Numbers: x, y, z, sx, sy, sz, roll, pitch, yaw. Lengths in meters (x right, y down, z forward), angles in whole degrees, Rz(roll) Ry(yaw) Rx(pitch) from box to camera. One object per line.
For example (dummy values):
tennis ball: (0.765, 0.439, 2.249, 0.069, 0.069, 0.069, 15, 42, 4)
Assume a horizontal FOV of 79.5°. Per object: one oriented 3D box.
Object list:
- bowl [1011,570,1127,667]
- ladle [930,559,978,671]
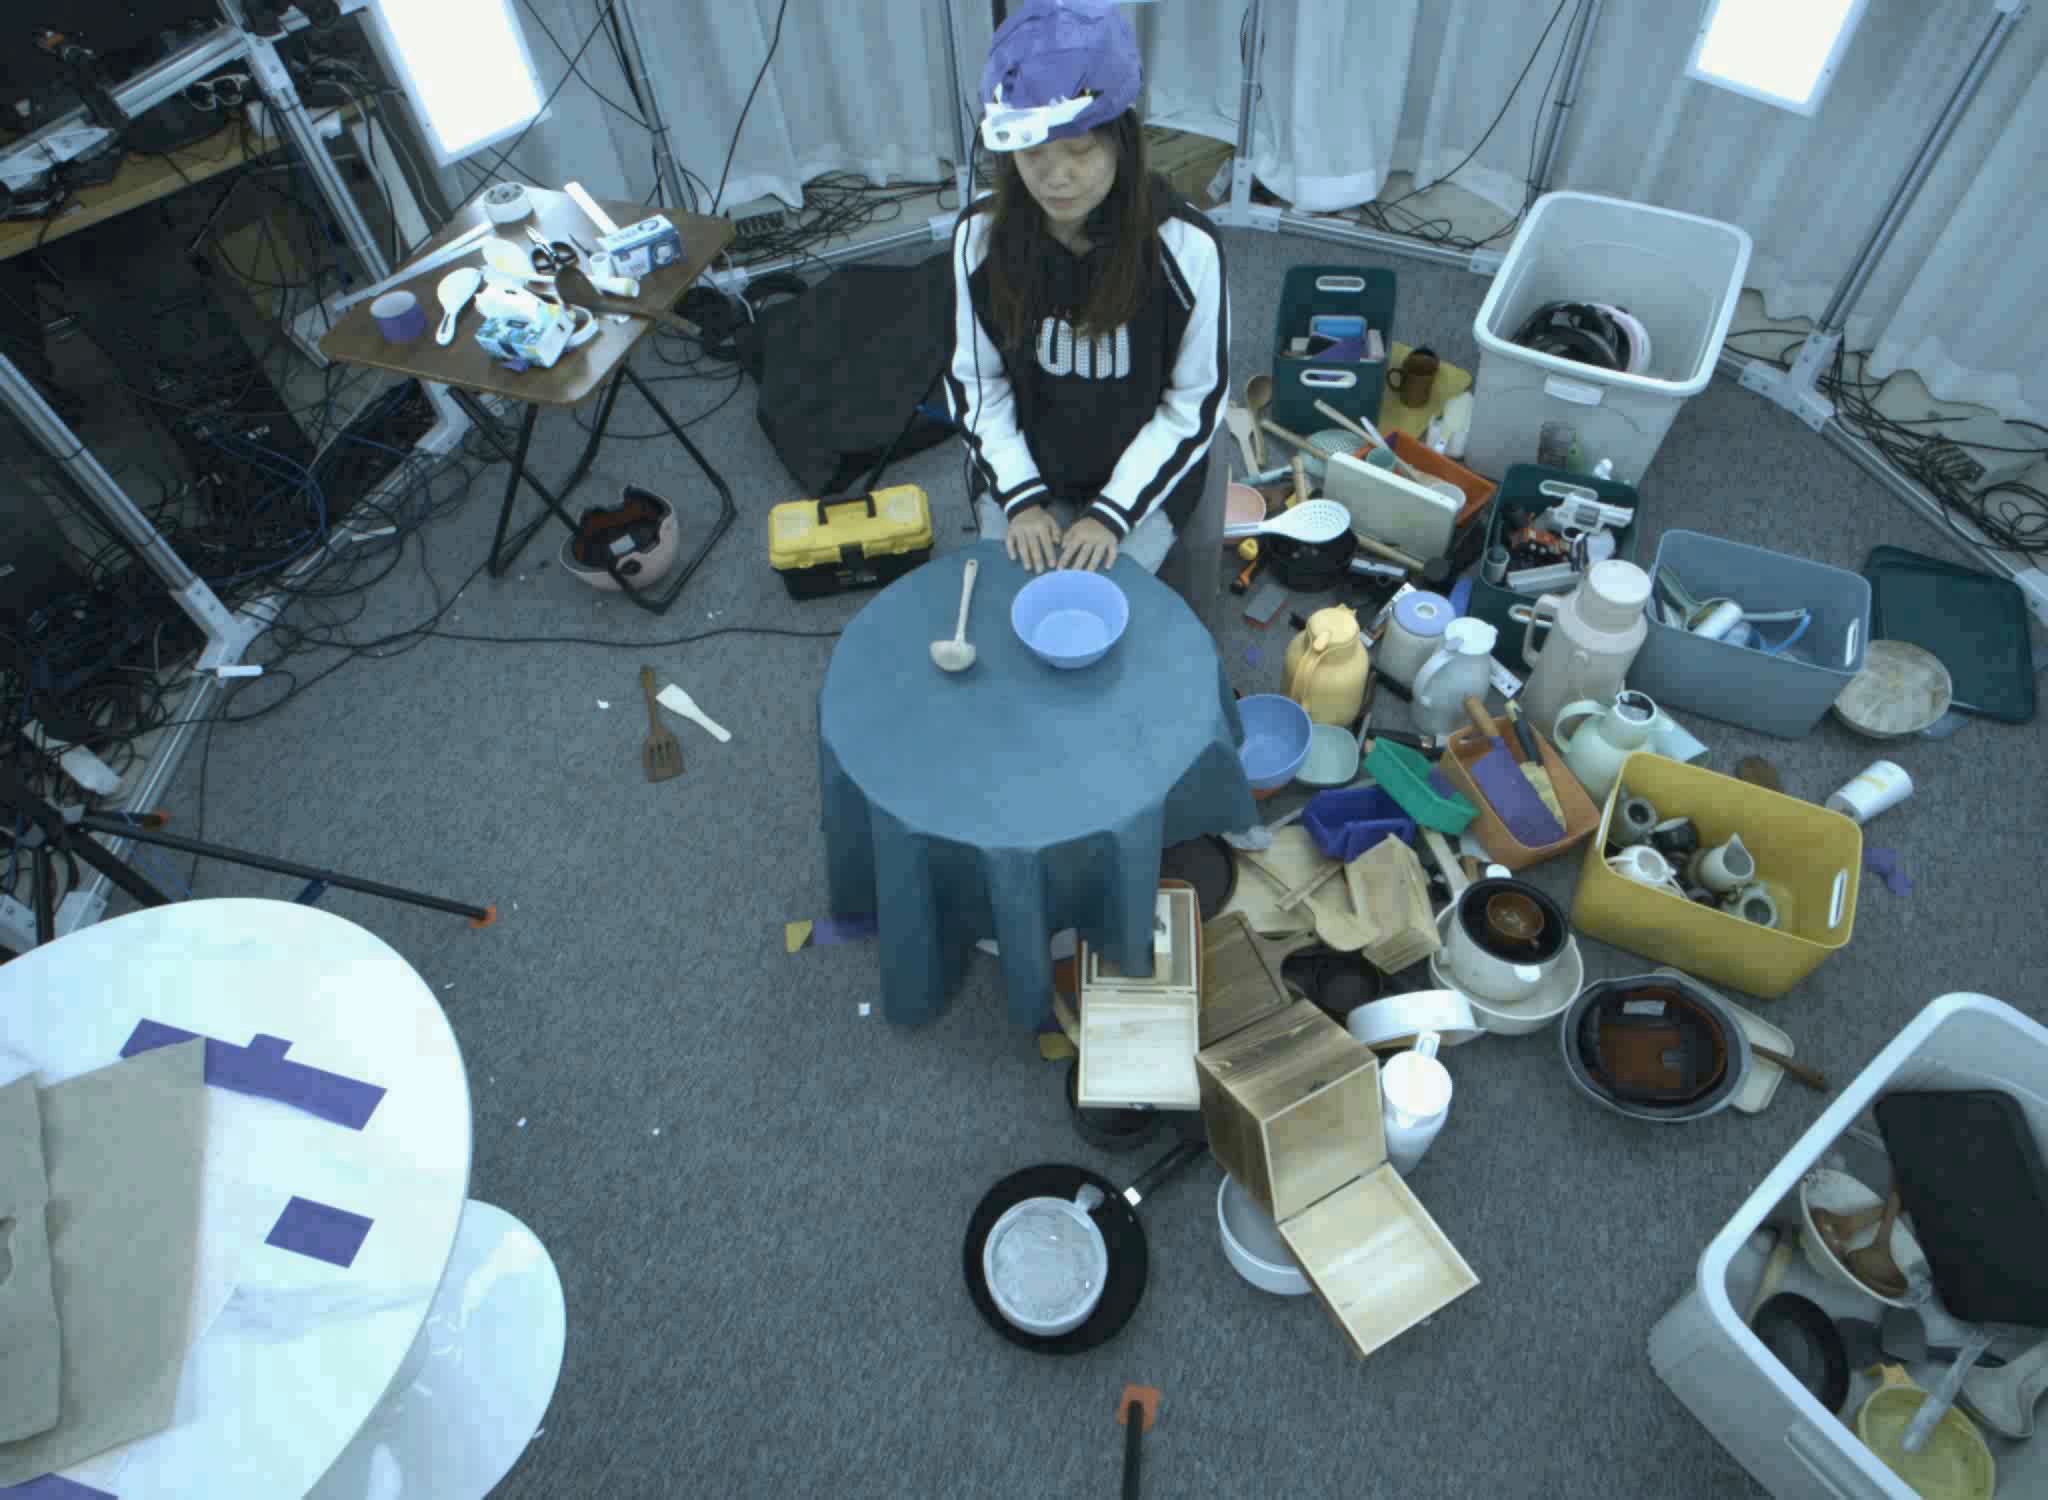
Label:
bowl: (0.069, -0.191, 1.877, 0.176, 0.071, 0.174, 0, 55, 1)
ladle: (-0.101, -0.232, 1.910, 0.072, 0.073, 0.252, 1, 55, 4)
